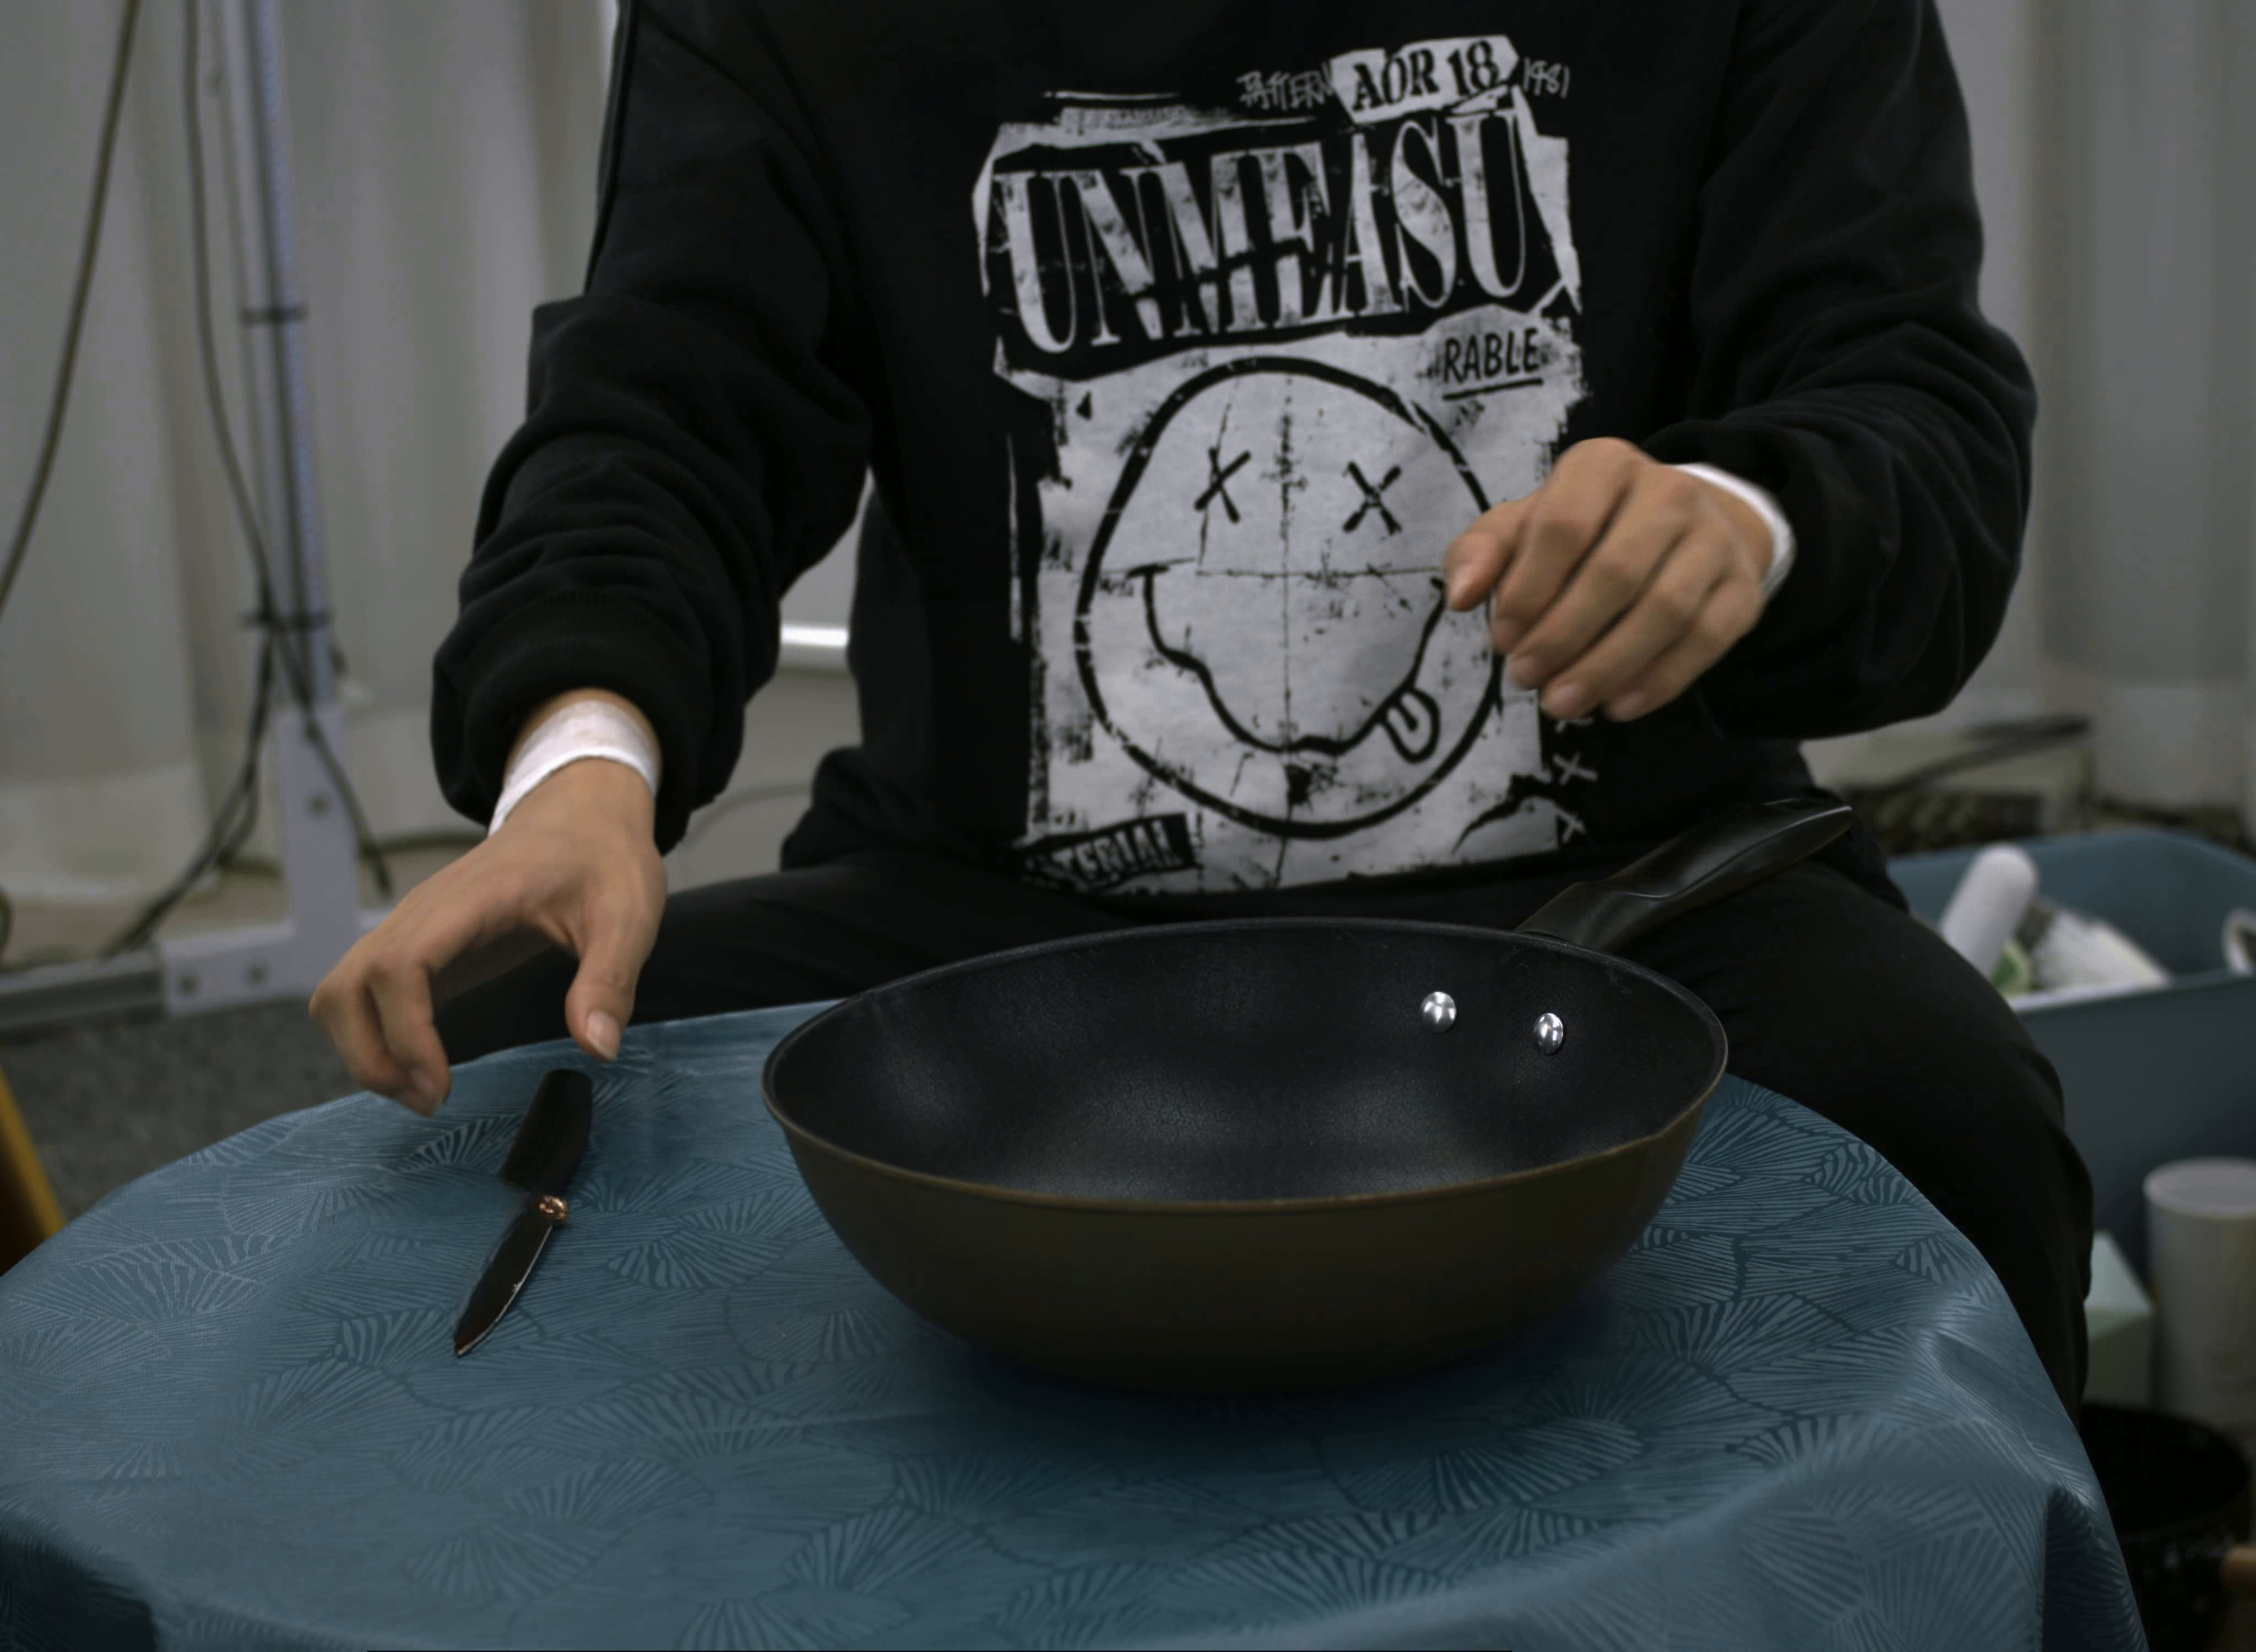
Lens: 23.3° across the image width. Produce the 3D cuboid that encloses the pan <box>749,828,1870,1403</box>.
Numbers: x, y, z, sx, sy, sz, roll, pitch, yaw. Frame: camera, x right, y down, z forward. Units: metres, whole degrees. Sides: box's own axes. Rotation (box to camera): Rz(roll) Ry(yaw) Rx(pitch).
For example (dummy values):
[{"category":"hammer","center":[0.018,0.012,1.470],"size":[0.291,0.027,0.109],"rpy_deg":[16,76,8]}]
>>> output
[{"category":"pan","center":[0.088,0.084,1.660],"size":[0.289,0.086,0.463],"rpy_deg":[9,18,38]}]

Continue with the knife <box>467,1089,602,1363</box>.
[{"category":"knife","center":[-0.187,0.123,1.702],"size":[0.026,0.017,0.227],"rpy_deg":[12,16,-1]}]
